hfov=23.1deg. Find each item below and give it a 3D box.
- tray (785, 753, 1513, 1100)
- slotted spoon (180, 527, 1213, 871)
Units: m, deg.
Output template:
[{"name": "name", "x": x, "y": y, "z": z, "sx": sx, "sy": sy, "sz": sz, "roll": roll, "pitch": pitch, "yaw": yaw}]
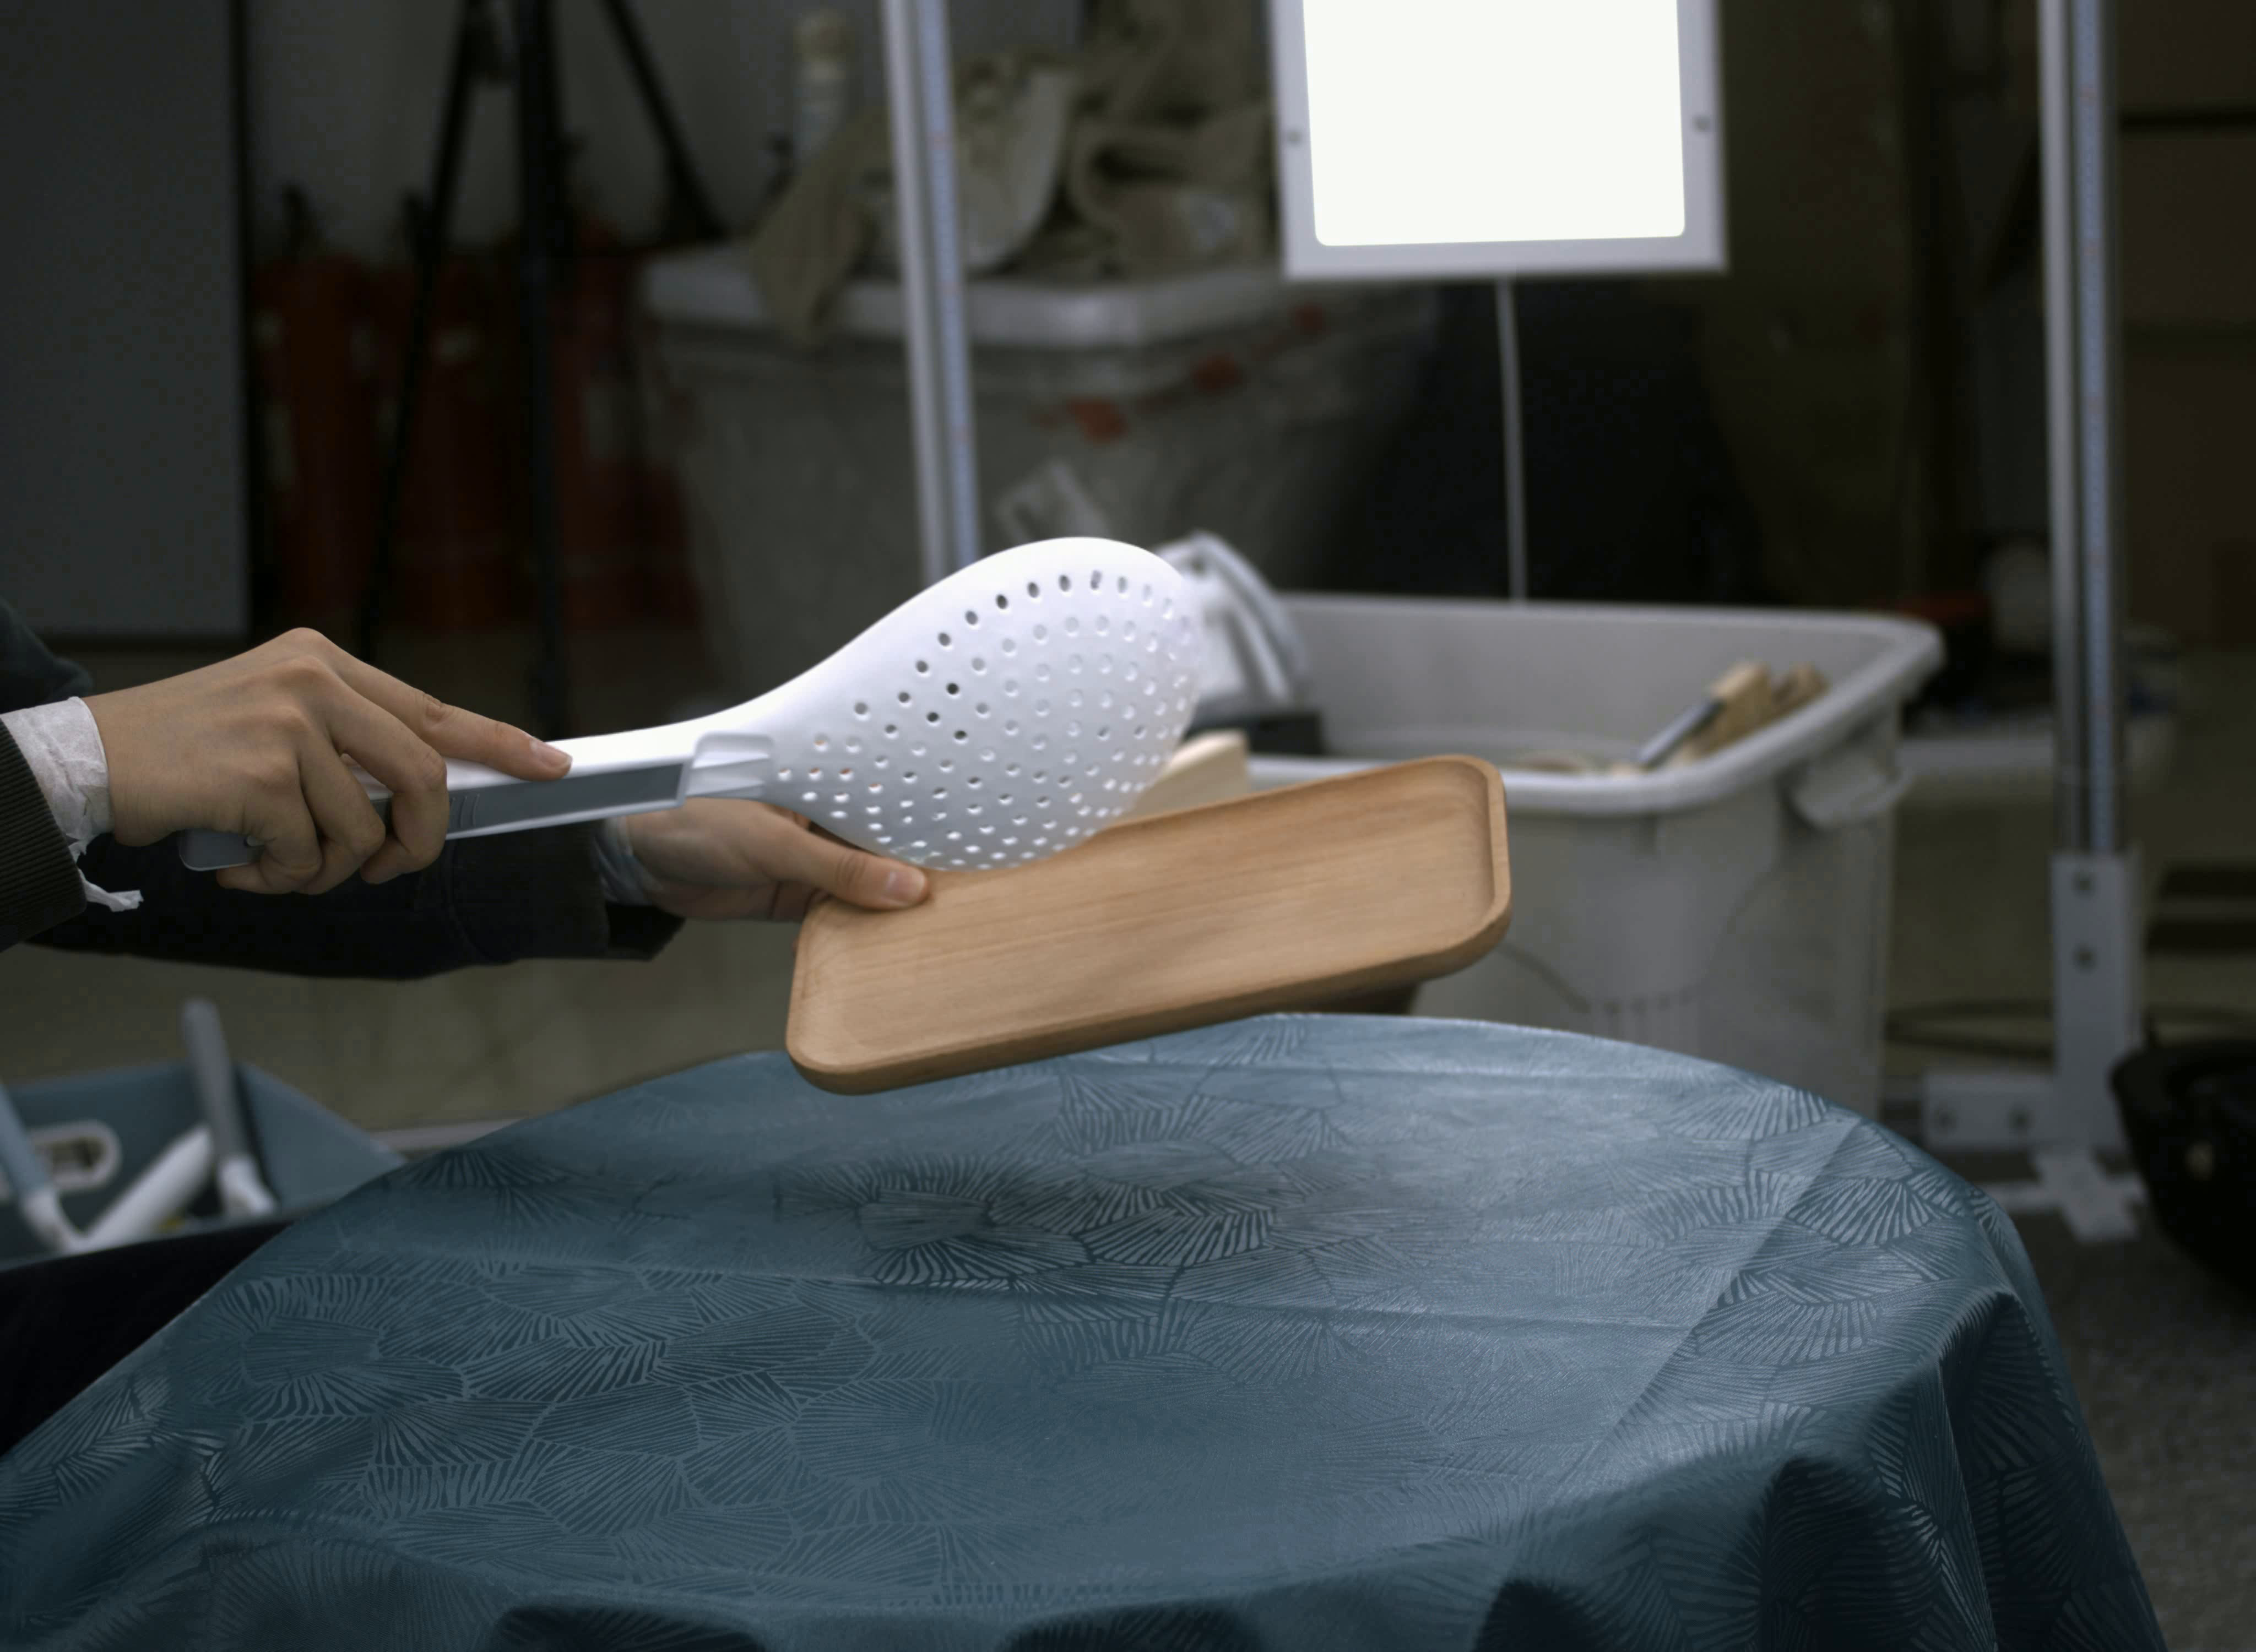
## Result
[{"name": "tray", "x": 0.008, "y": 0.034, "z": 1.862, "sx": 0.252, "sy": 0.023, "sz": 0.130, "roll": -13, "pitch": 28, "yaw": 11}, {"name": "slotted spoon", "x": -0.127, "y": -0.022, "z": 1.731, "sx": 0.343, "sy": 0.137, "sz": 0.046, "roll": -5, "pitch": 40, "yaw": -20}]
